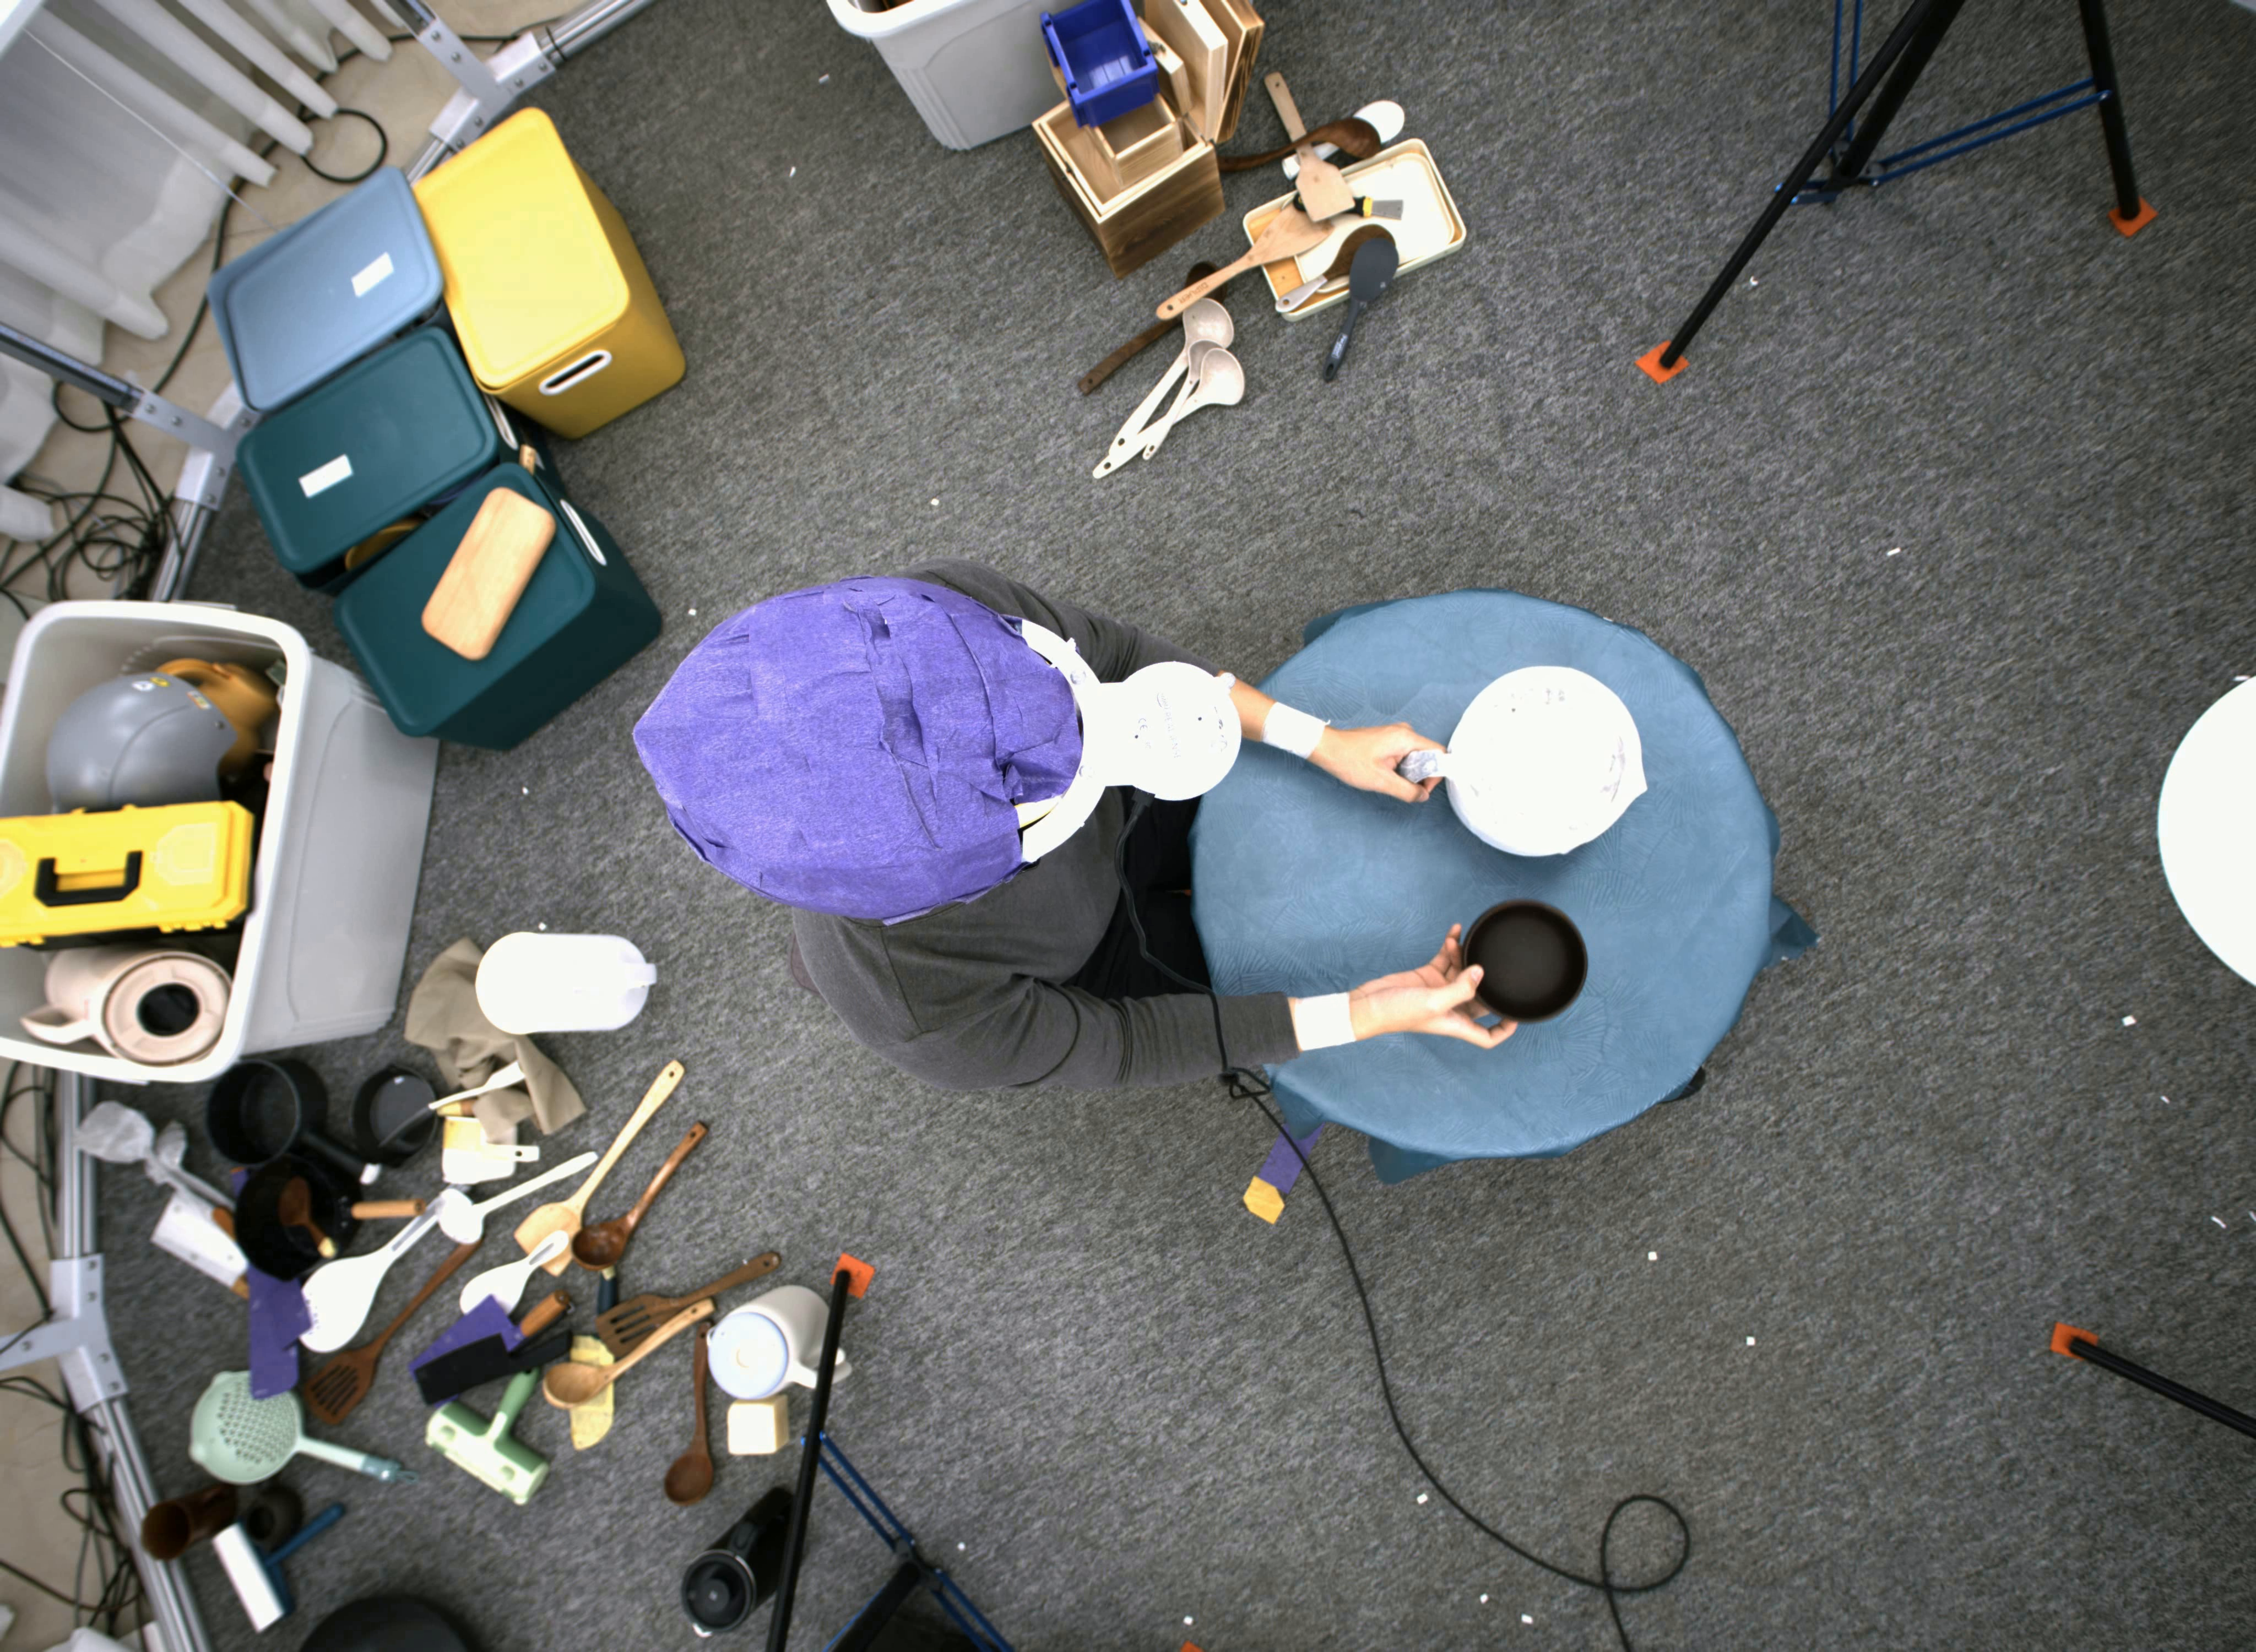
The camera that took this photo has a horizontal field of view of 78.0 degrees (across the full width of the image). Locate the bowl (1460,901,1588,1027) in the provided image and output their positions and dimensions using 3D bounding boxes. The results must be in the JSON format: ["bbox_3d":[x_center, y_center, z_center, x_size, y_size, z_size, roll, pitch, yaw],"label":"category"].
[{"bbox_3d":[0.379,0.128,1.321,0.118,0.069,0.118,0,92,15],"label":"bowl"}]

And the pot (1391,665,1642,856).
[{"bbox_3d":[0.383,-0.062,1.376,0.235,0.136,0.178,-3,86,10],"label":"pot"}]
